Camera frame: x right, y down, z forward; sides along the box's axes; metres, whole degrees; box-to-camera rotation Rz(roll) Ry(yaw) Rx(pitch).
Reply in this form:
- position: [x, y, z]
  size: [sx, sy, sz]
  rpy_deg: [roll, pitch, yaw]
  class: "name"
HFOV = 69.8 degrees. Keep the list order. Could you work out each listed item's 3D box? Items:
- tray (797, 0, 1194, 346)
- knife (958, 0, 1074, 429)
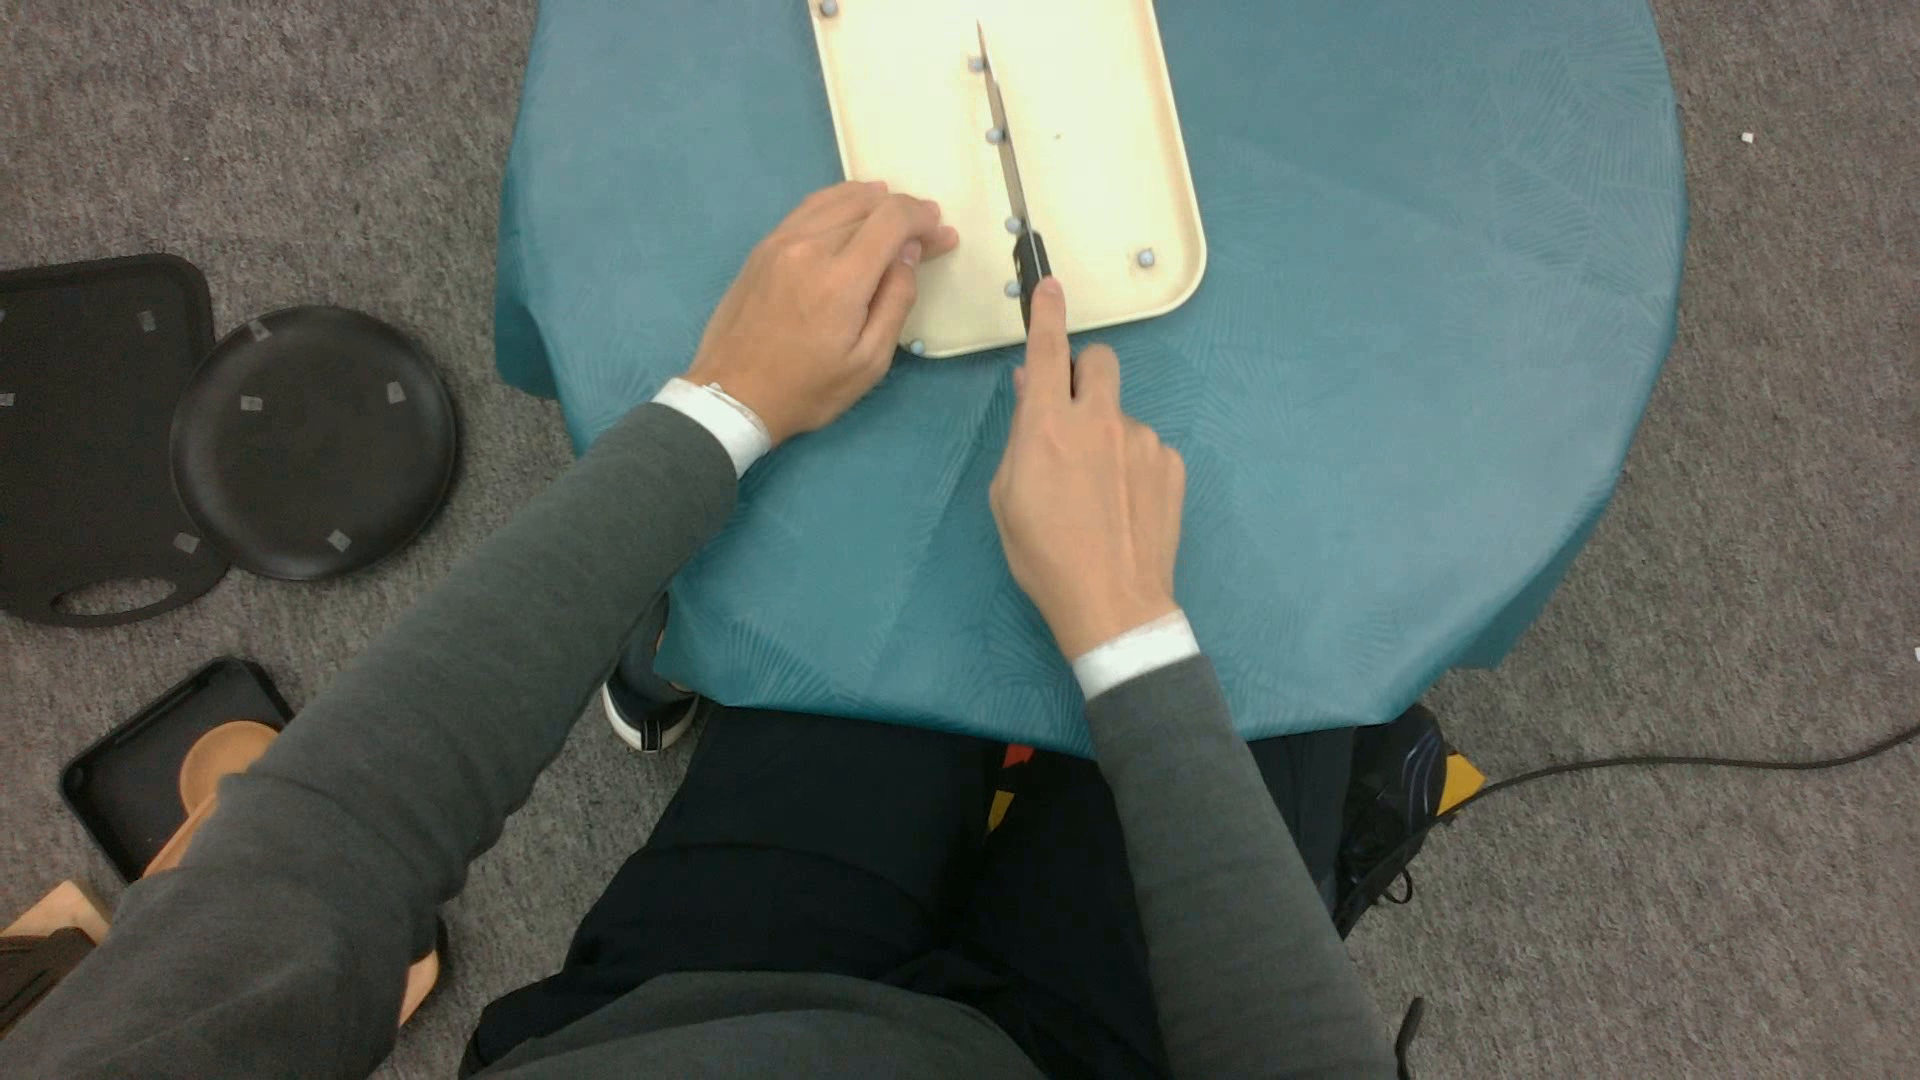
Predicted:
- position: [0.015, -0.222, 0.696]
  size: [0.171, 0.017, 0.240]
  rpy_deg: [-11, 85, -5]
  class: "tray"
- position: [0.022, -0.165, 0.655]
  size: [0.016, 0.024, 0.238]
  rpy_deg: [-9, 75, -11]
  class: "knife"
